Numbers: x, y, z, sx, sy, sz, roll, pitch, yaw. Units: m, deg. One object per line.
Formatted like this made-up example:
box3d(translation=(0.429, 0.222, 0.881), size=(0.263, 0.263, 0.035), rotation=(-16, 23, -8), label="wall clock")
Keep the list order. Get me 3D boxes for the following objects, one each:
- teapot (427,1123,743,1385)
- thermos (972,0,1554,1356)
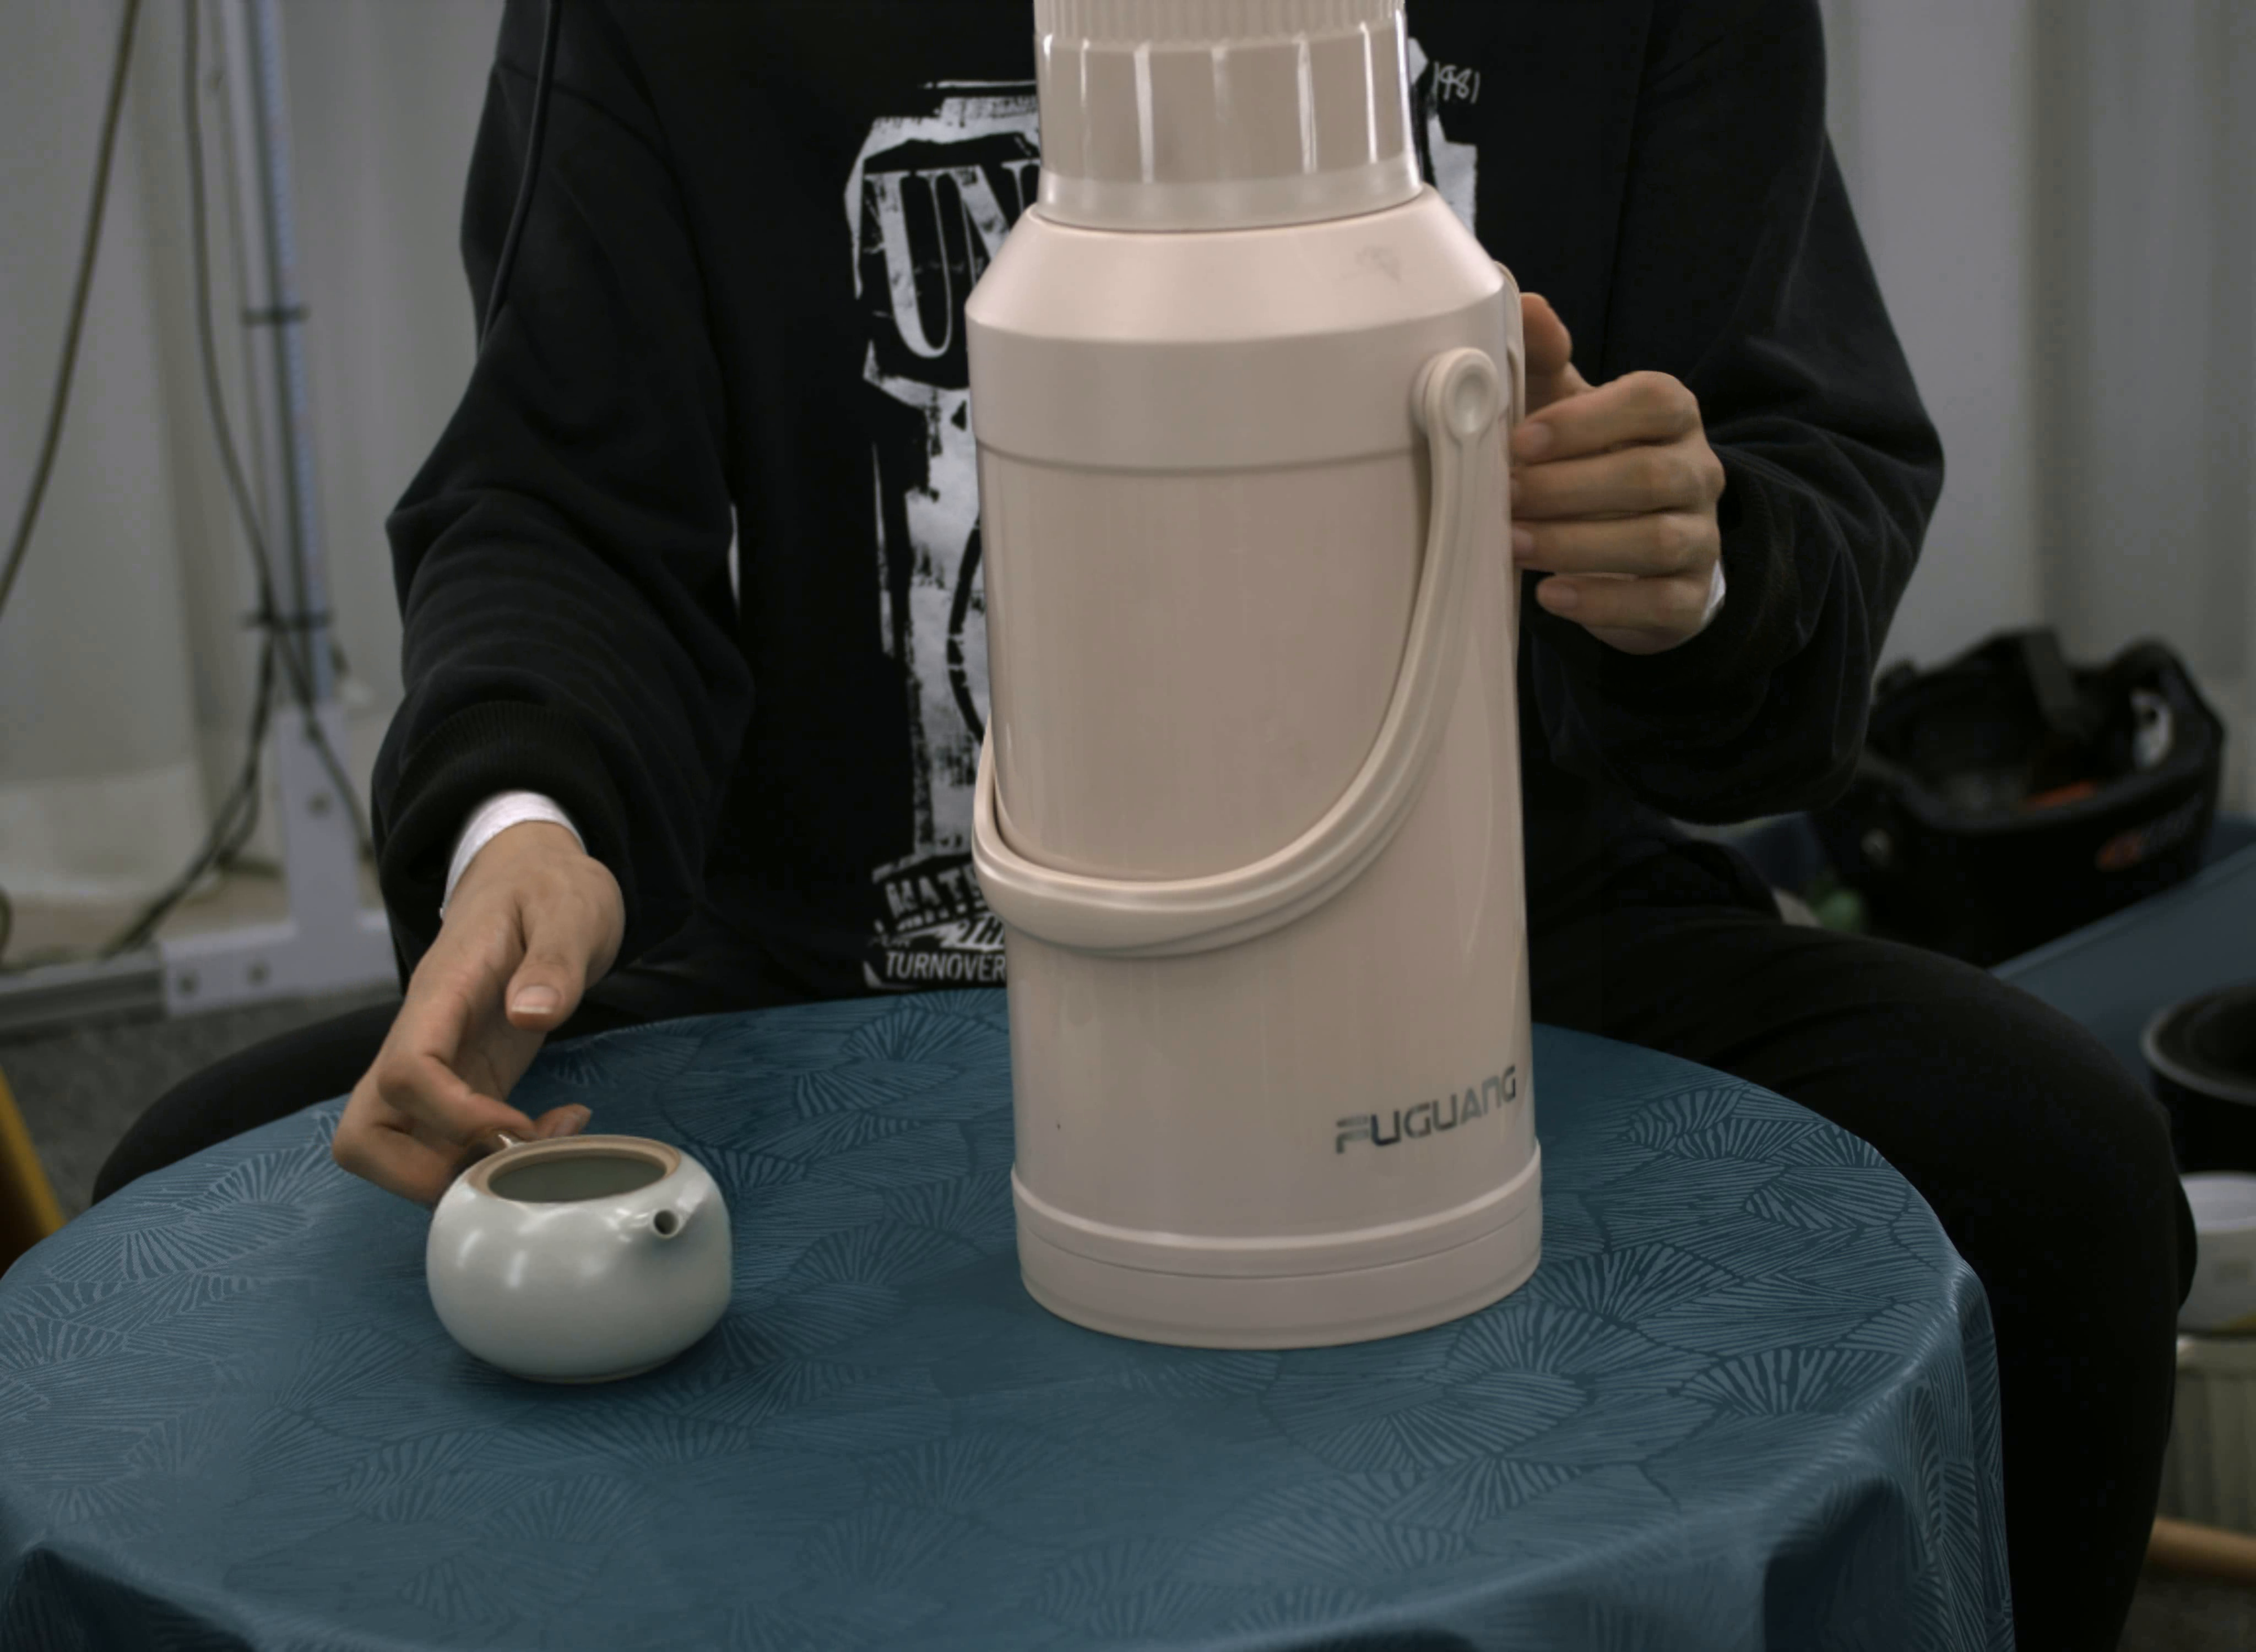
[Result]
box3d(translation=(-0.164, 0.124, 1.598), size=(0.091, 0.059, 0.129), rotation=(-16, 21, -33), label="teapot")
box3d(translation=(0.048, -0.063, 1.608), size=(0.176, 0.405, 0.207), rotation=(8, 18, 42), label="thermos")
